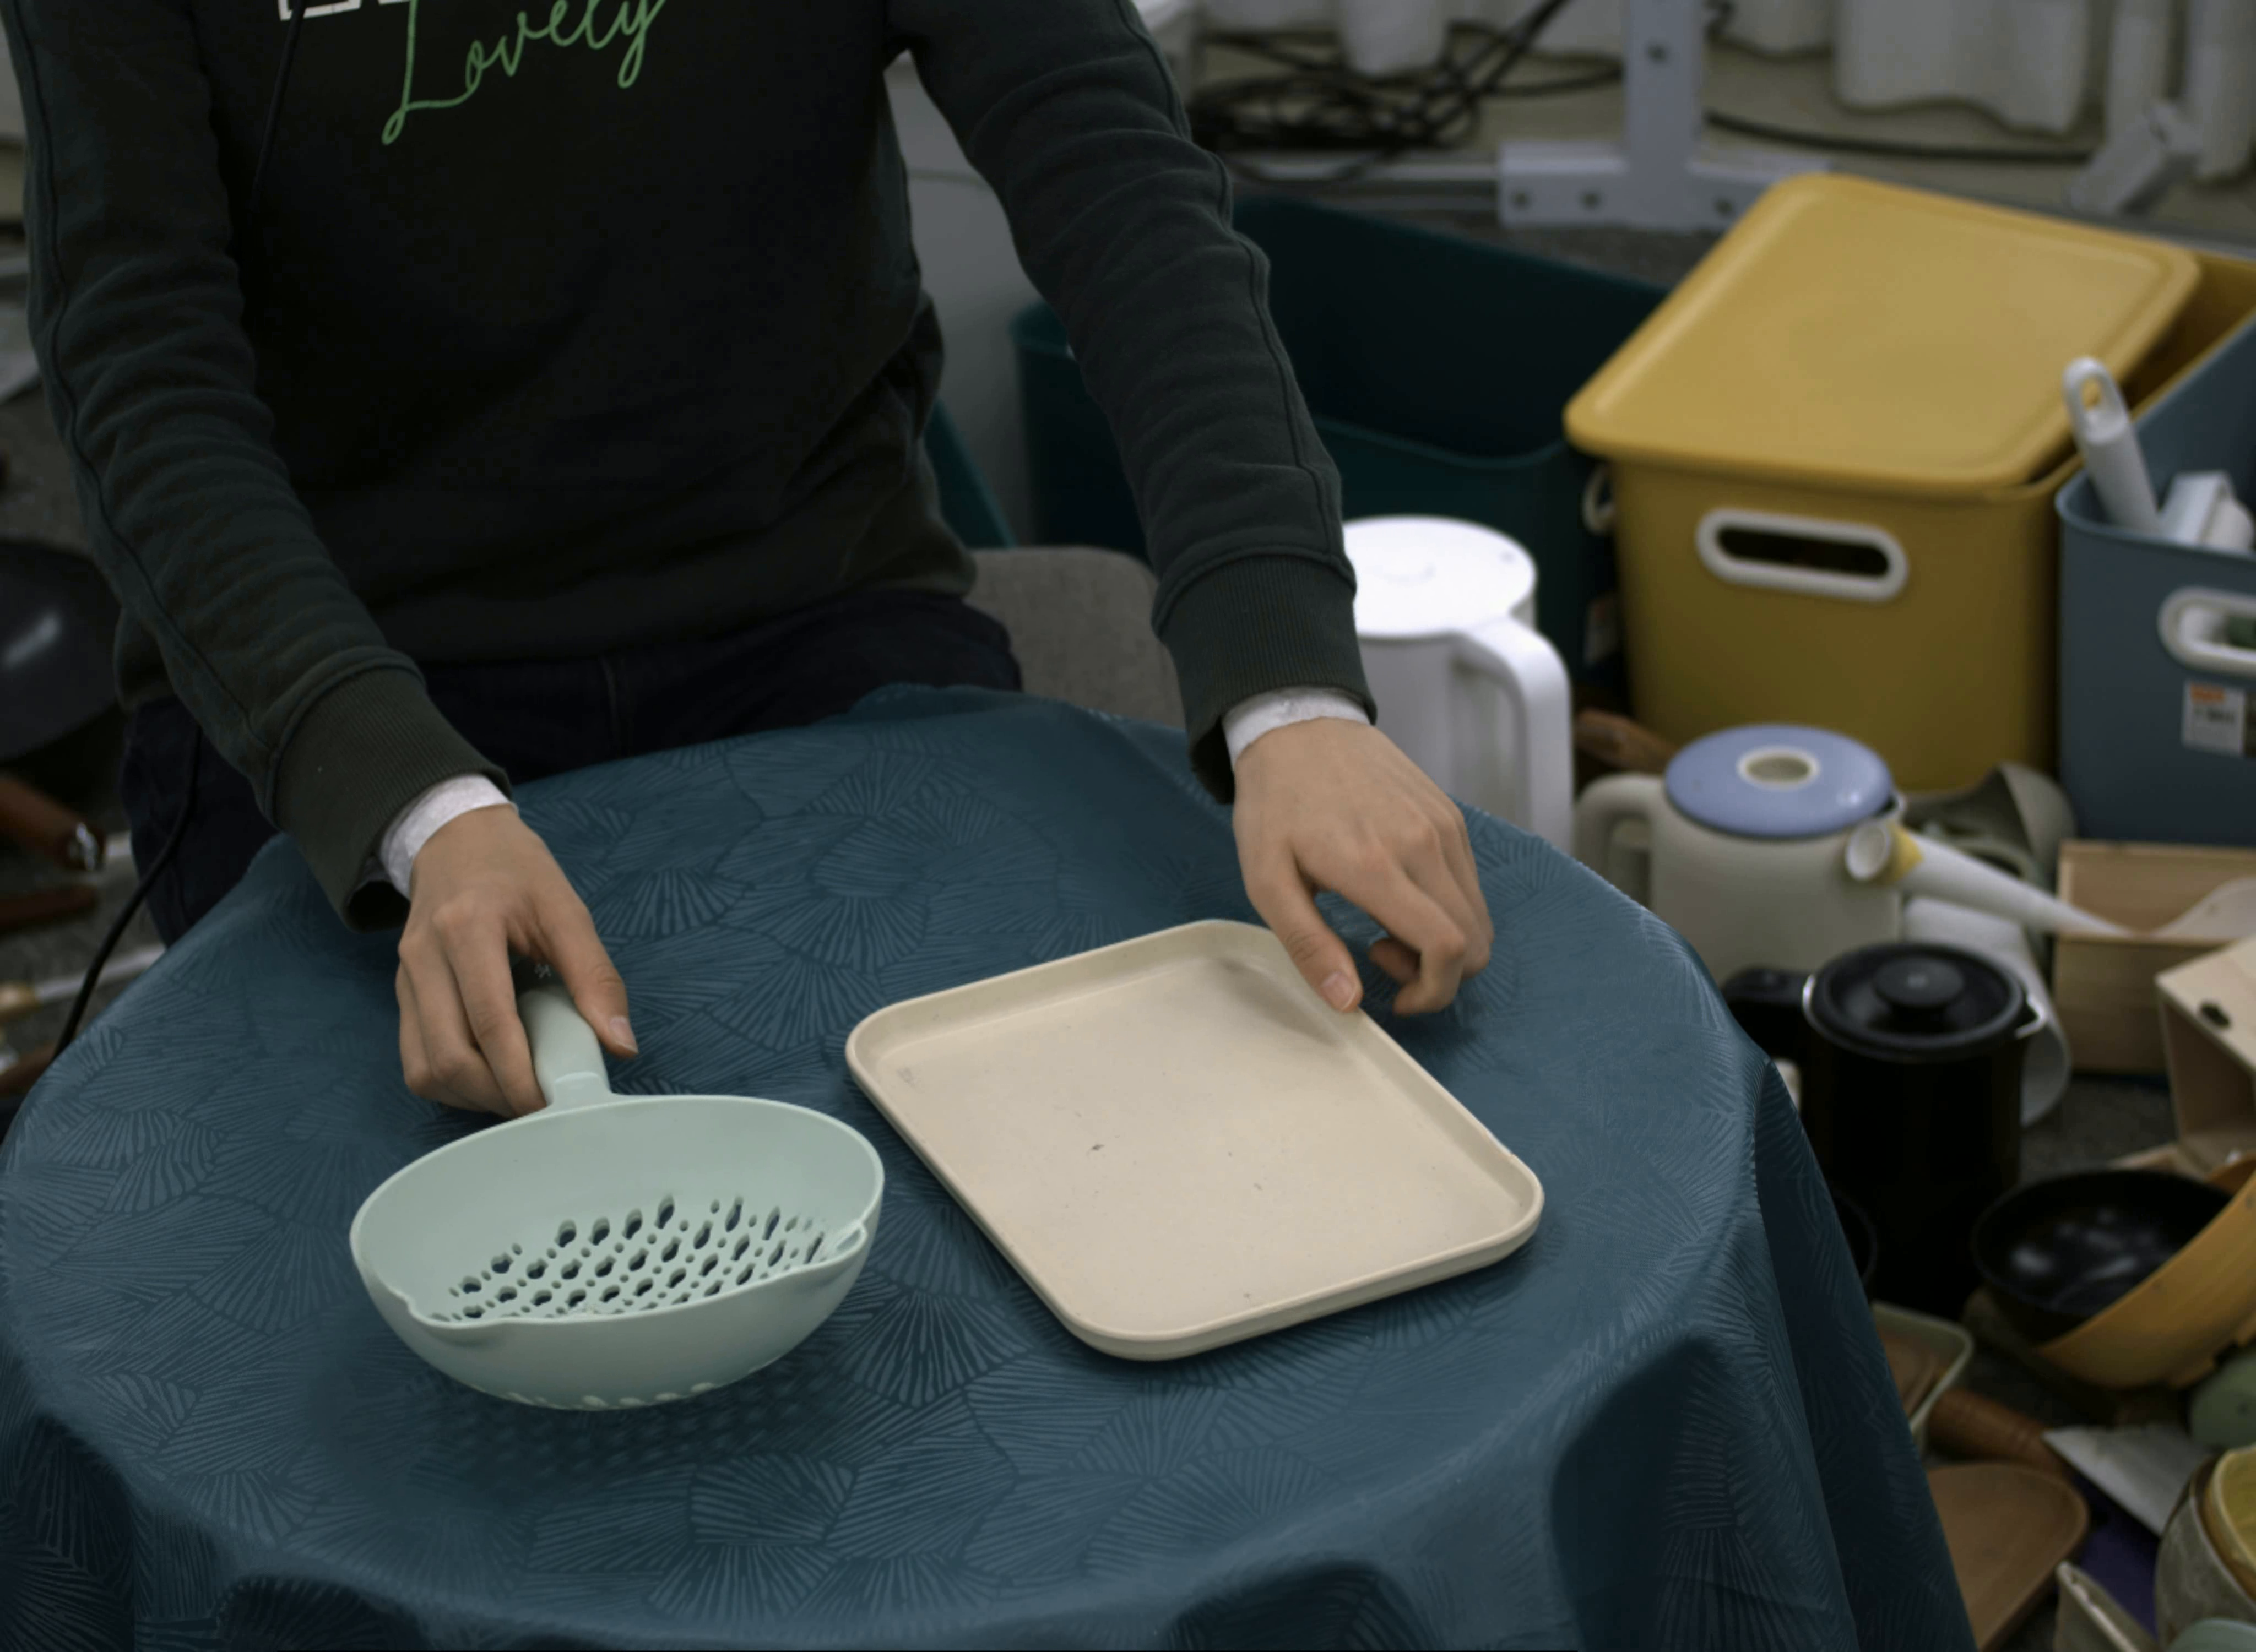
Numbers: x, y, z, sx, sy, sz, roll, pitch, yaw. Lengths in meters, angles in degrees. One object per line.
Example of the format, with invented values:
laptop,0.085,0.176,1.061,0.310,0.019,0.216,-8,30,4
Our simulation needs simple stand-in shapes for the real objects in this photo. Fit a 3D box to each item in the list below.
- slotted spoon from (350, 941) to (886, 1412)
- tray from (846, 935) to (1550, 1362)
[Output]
slotted spoon,-0.178,0.099,1.853,0.169,0.074,0.363,-8,27,-9
tray,0.020,0.106,1.873,0.172,0.017,0.241,-14,28,-21
